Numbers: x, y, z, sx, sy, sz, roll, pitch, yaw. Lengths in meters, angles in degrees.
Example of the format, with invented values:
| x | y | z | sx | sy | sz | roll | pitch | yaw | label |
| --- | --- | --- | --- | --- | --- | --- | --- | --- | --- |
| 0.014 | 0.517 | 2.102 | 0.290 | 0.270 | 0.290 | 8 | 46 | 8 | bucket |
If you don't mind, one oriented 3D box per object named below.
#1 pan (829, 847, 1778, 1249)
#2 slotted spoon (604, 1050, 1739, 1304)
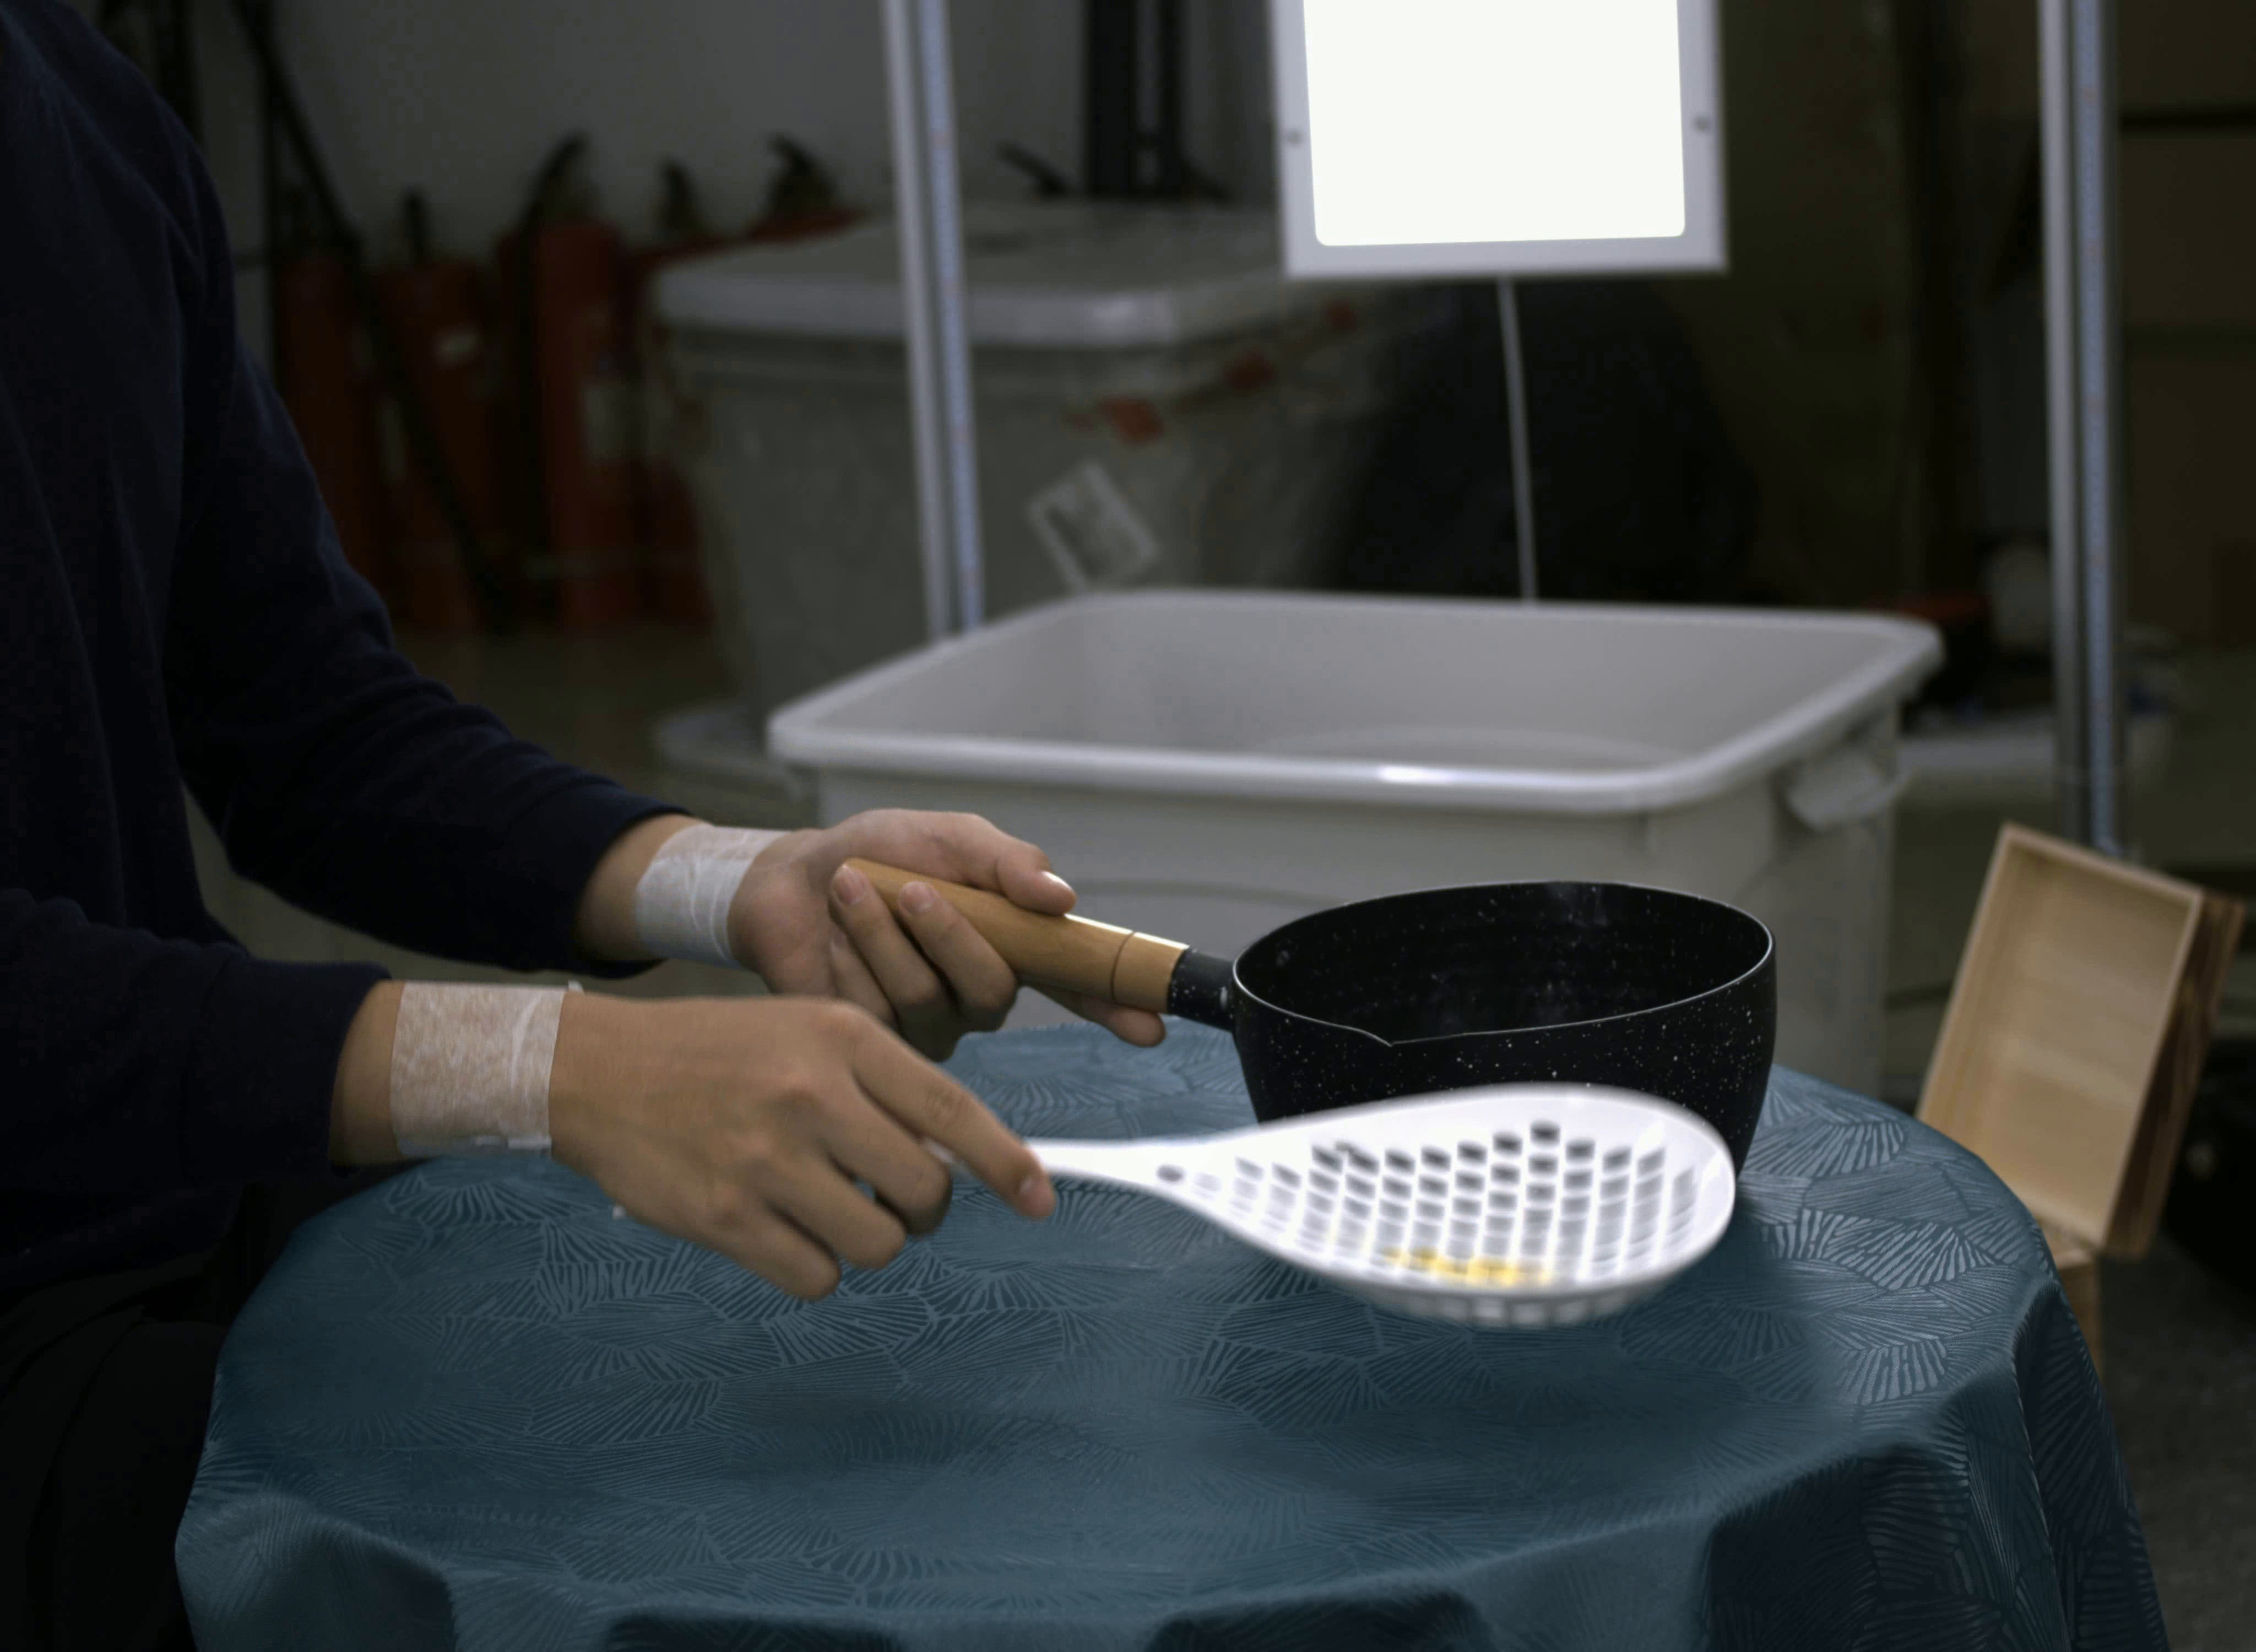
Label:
| x | y | z | sx | sy | sz | roll | pitch | yaw | label |
| --- | --- | --- | --- | --- | --- | --- | --- | --- | --- |
| 0.054 | 0.069 | 1.884 | 0.348 | 0.108 | 0.203 | 3 | 17 | 24 | pan |
| 0.011 | 0.108 | 1.672 | 0.350 | 0.050 | 0.135 | 5 | 25 | 11 | slotted spoon |
